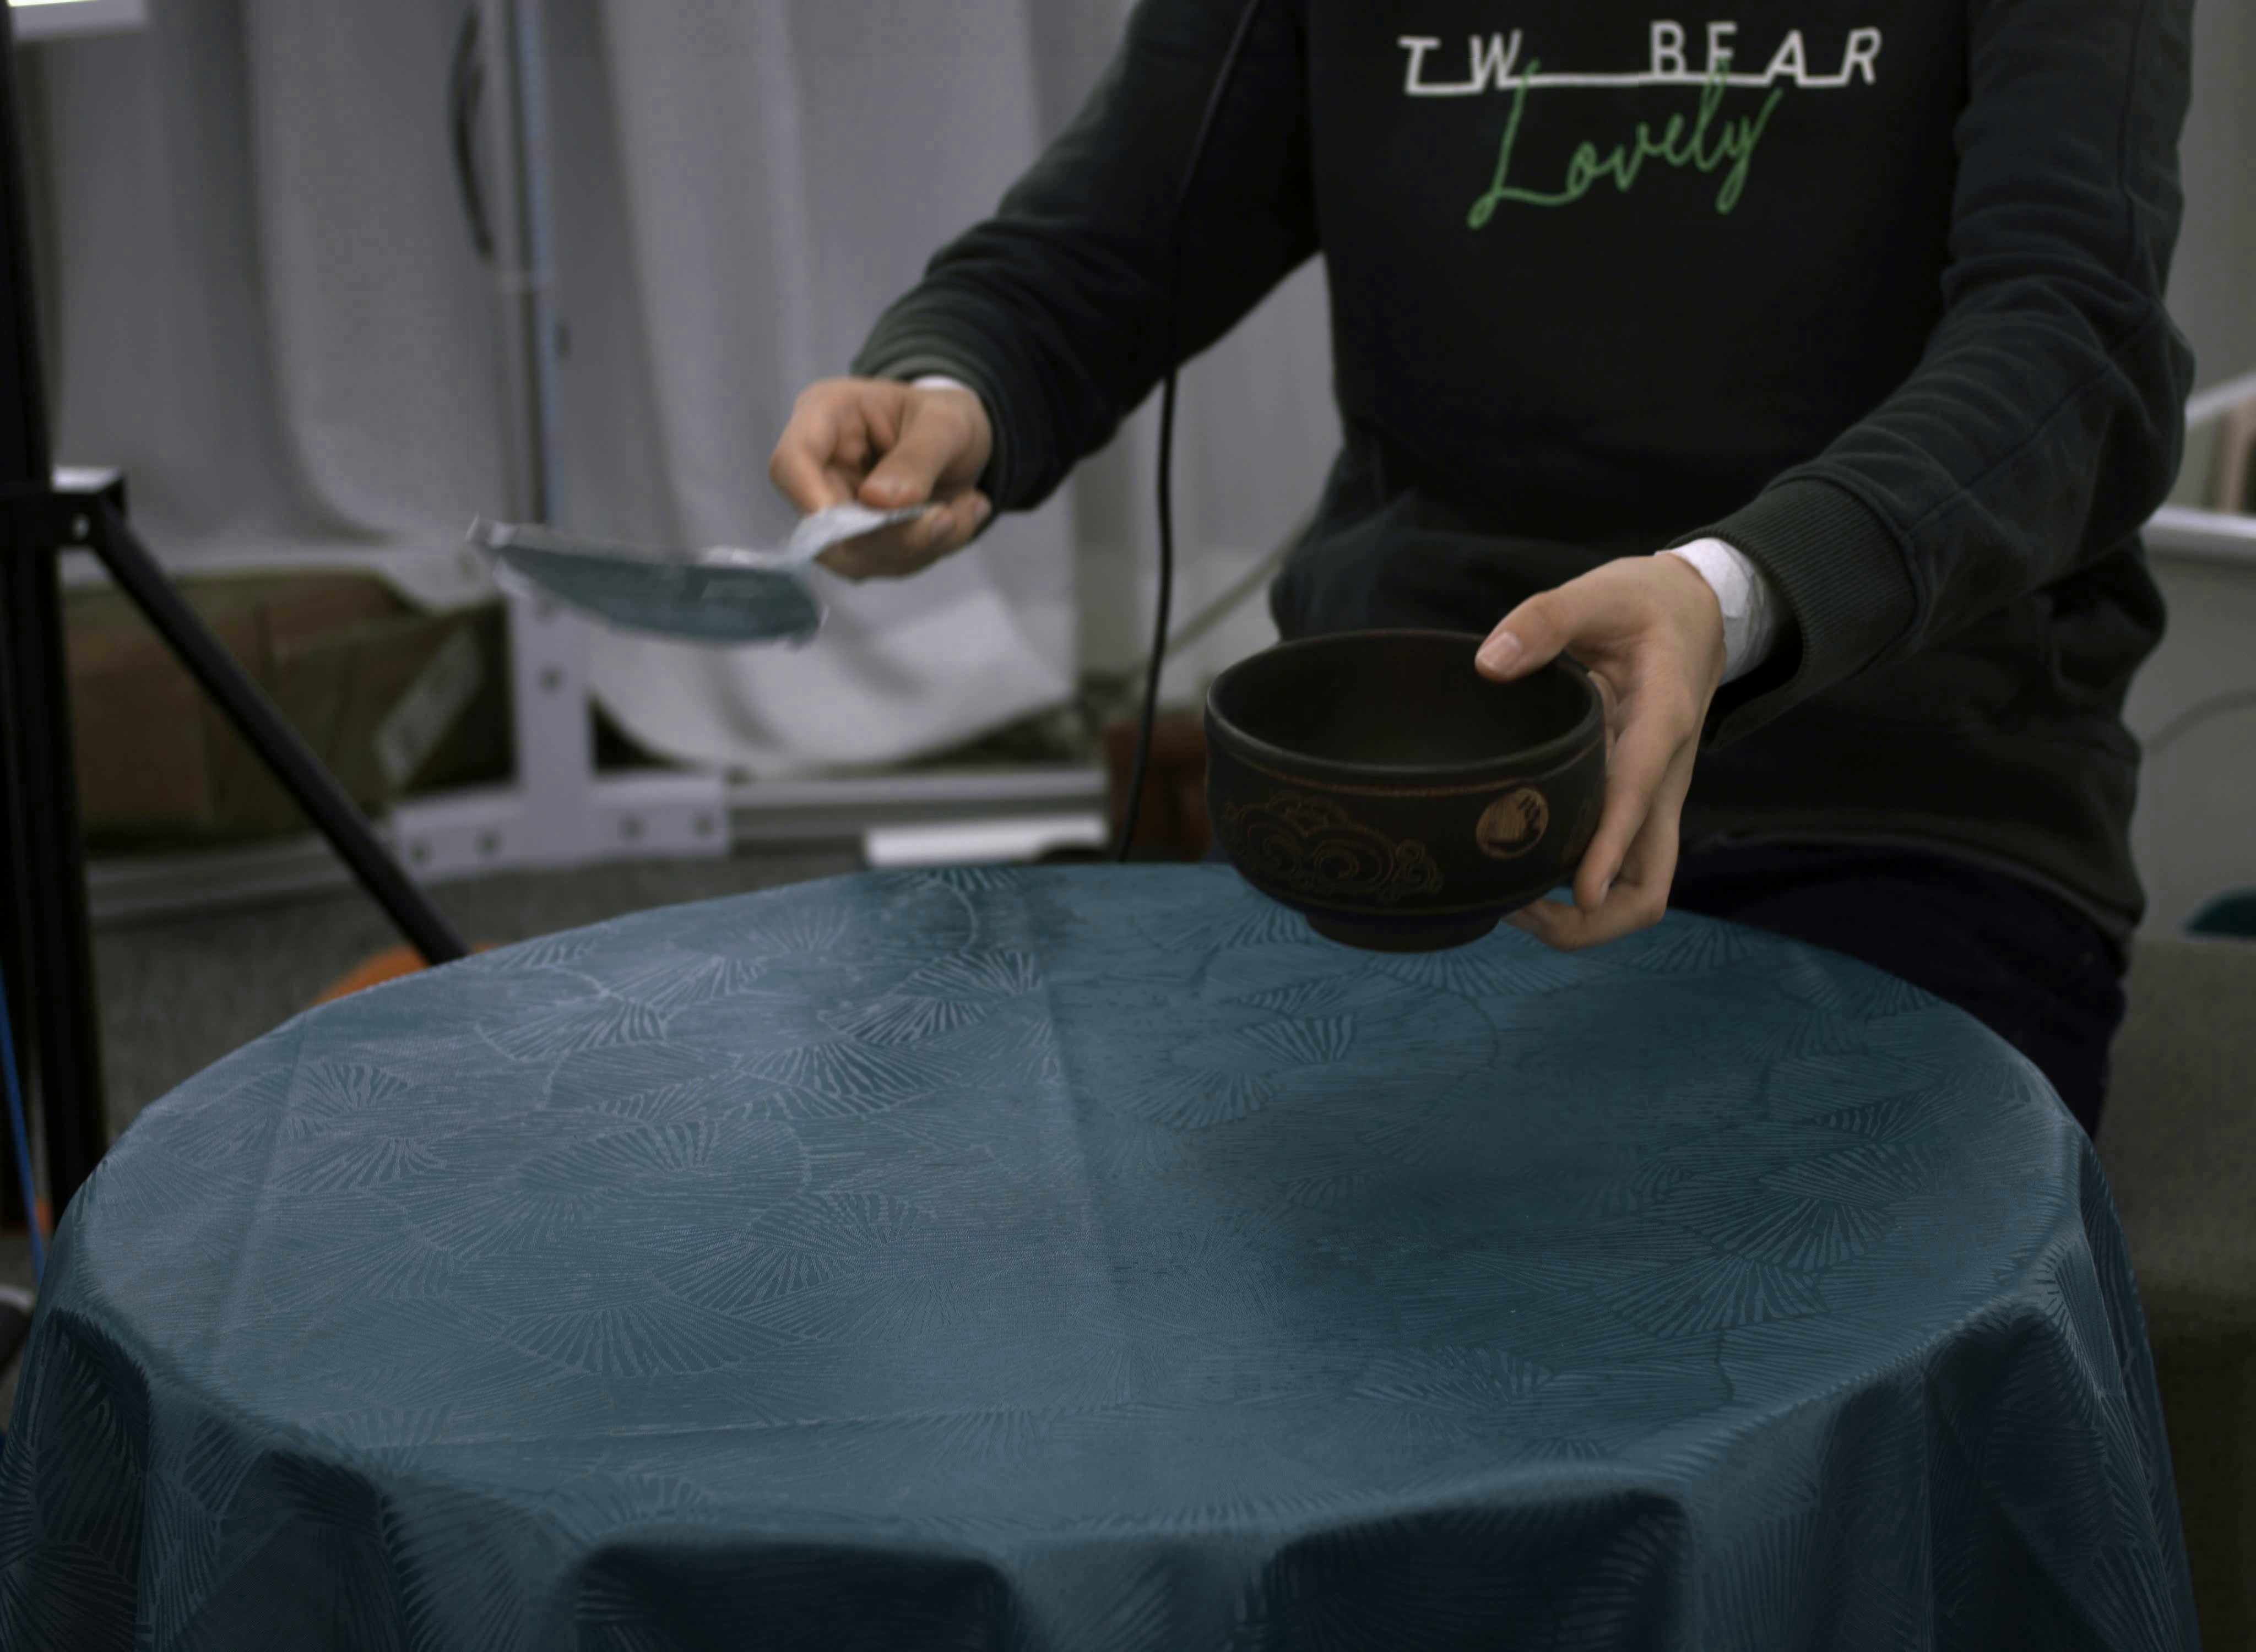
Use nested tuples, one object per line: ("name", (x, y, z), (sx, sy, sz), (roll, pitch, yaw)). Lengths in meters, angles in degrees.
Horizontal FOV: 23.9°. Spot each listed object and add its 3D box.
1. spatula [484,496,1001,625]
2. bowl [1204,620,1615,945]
("spatula", (-0.097, -0.095, 1.654), (0.099, 0.045, 0.361), (6, 11, 13))
("bowl", (0.080, -0.008, 1.527), (0.117, 0.070, 0.119), (0, 21, -1))
